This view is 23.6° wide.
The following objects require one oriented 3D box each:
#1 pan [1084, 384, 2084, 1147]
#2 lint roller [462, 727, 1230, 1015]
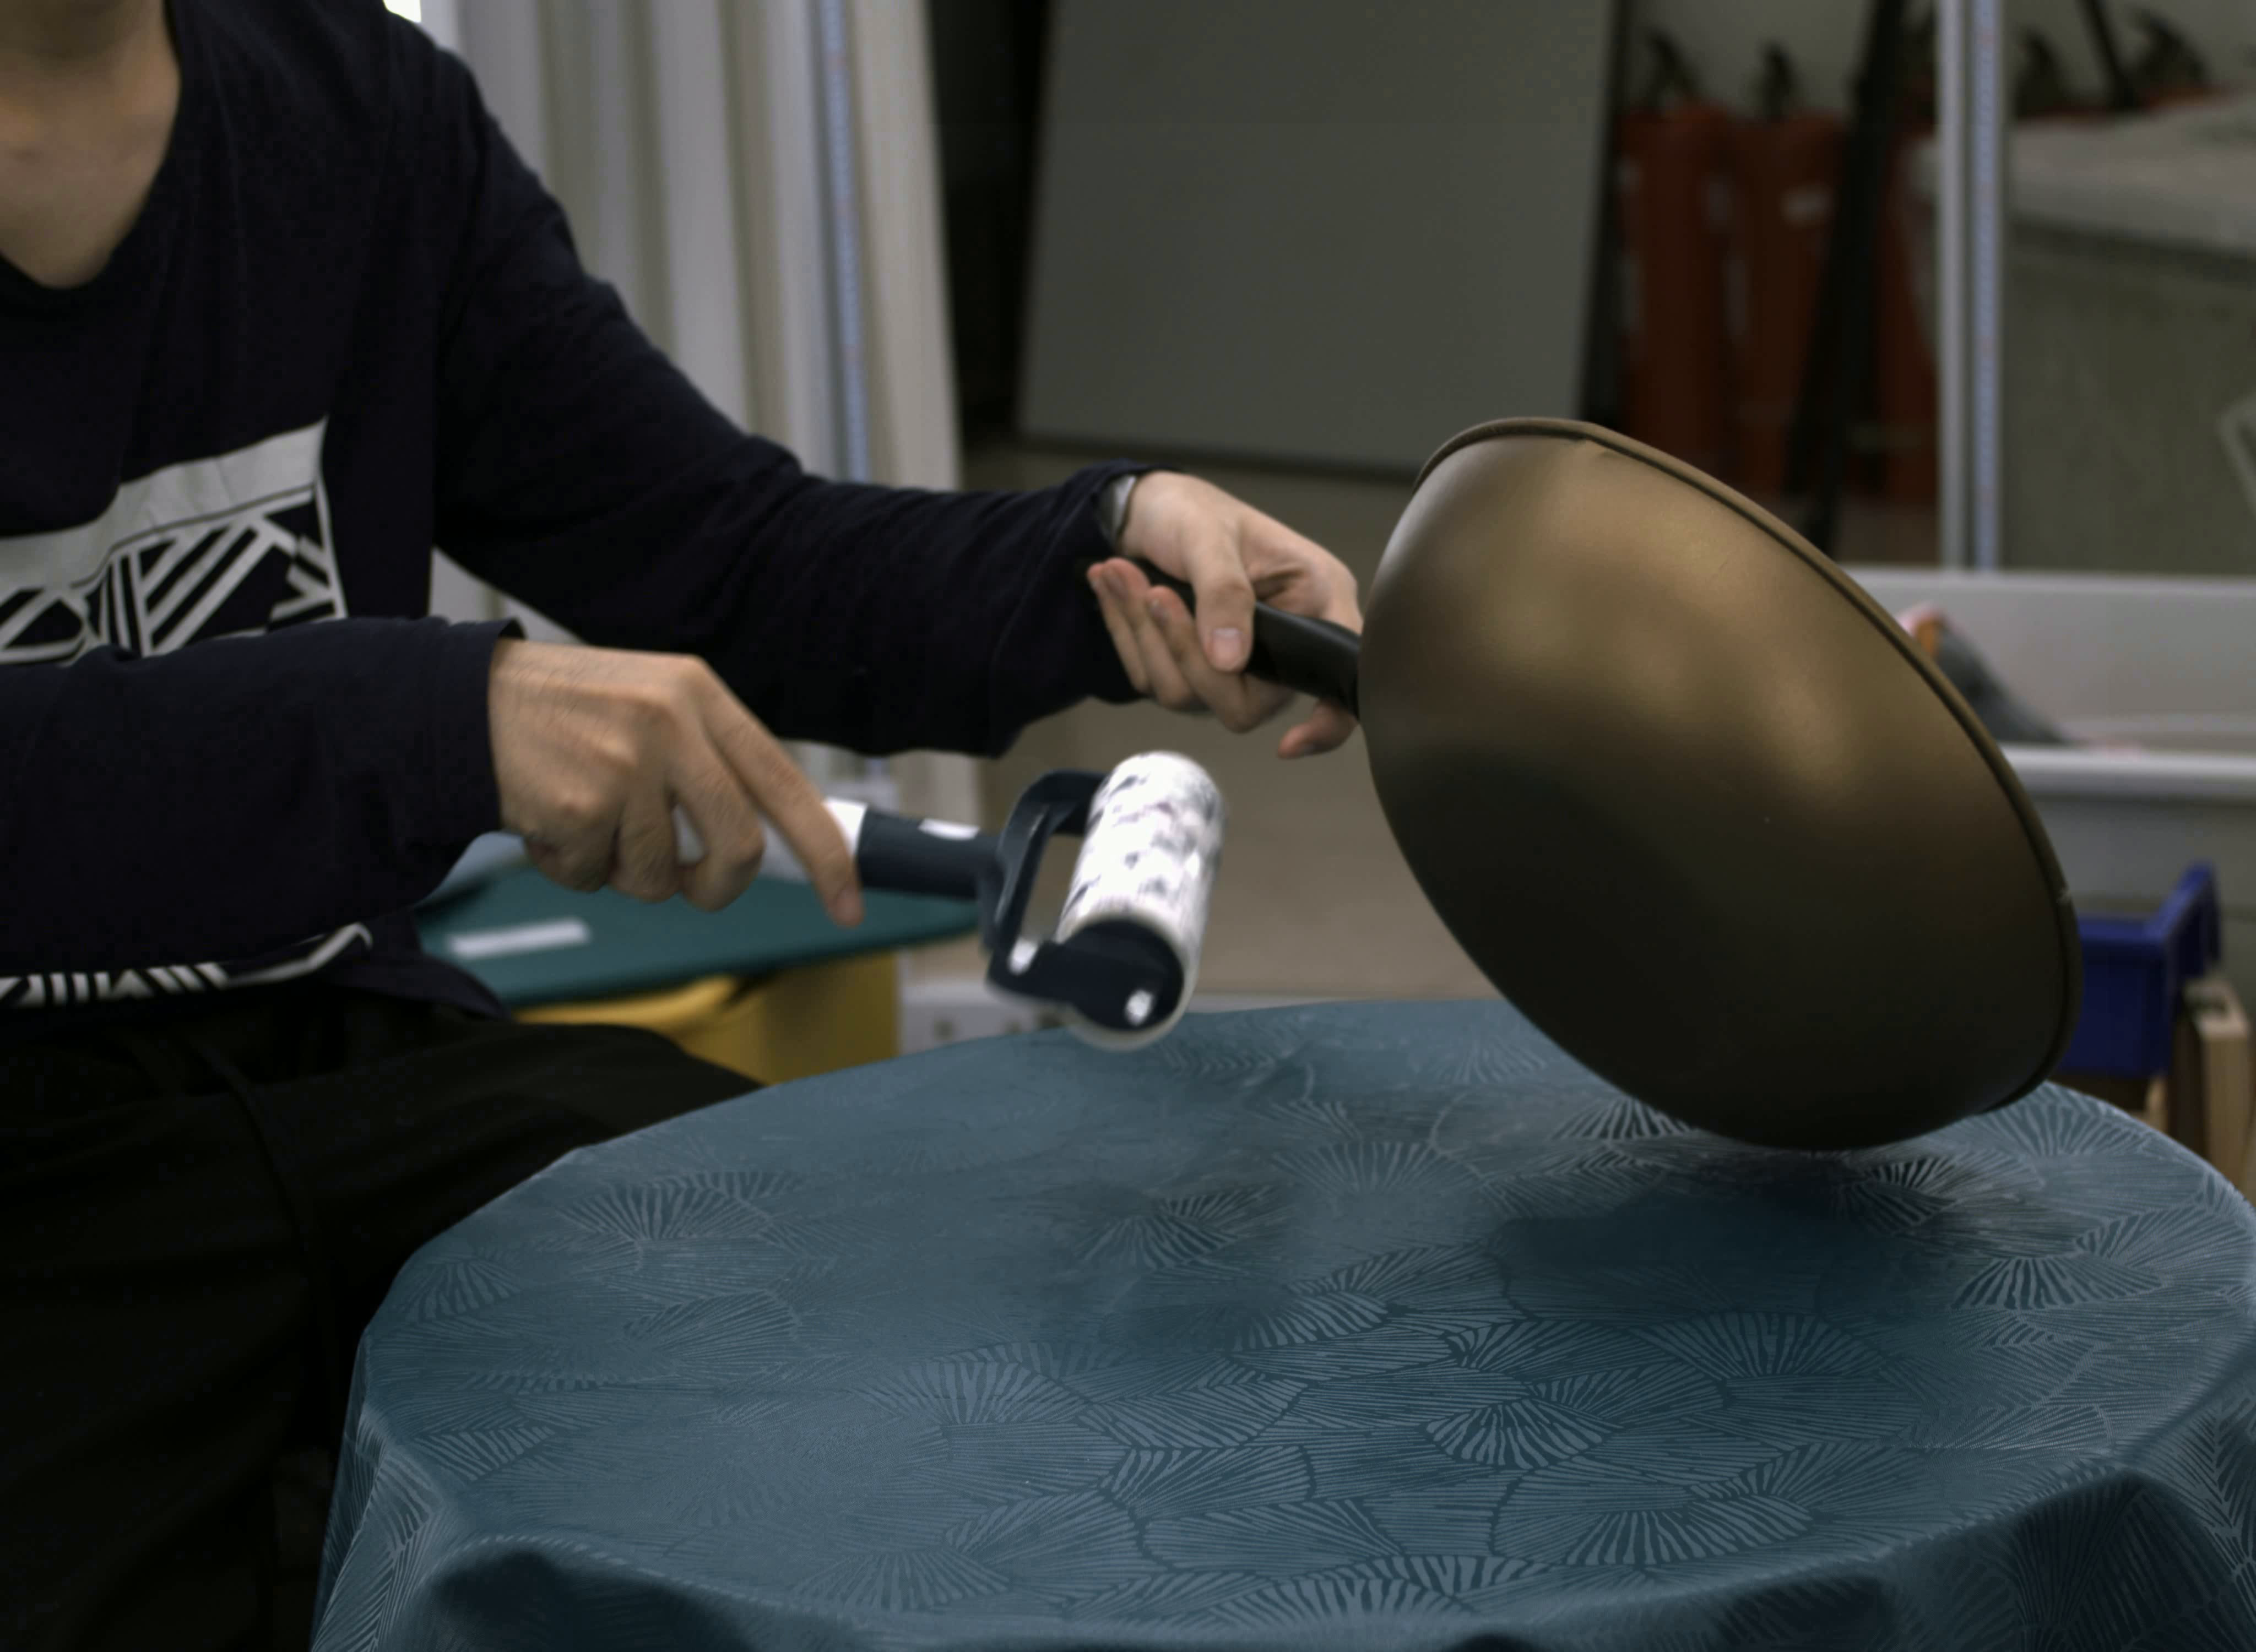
[{"bbox_3d":[0.107,-0.017,1.762,0.086,0.287,0.468,-41,34,-24],"label":"pan"},{"bbox_3d":[-0.092,-0.001,1.736,0.244,0.051,0.176,8,17,3],"label":"lint roller"}]
